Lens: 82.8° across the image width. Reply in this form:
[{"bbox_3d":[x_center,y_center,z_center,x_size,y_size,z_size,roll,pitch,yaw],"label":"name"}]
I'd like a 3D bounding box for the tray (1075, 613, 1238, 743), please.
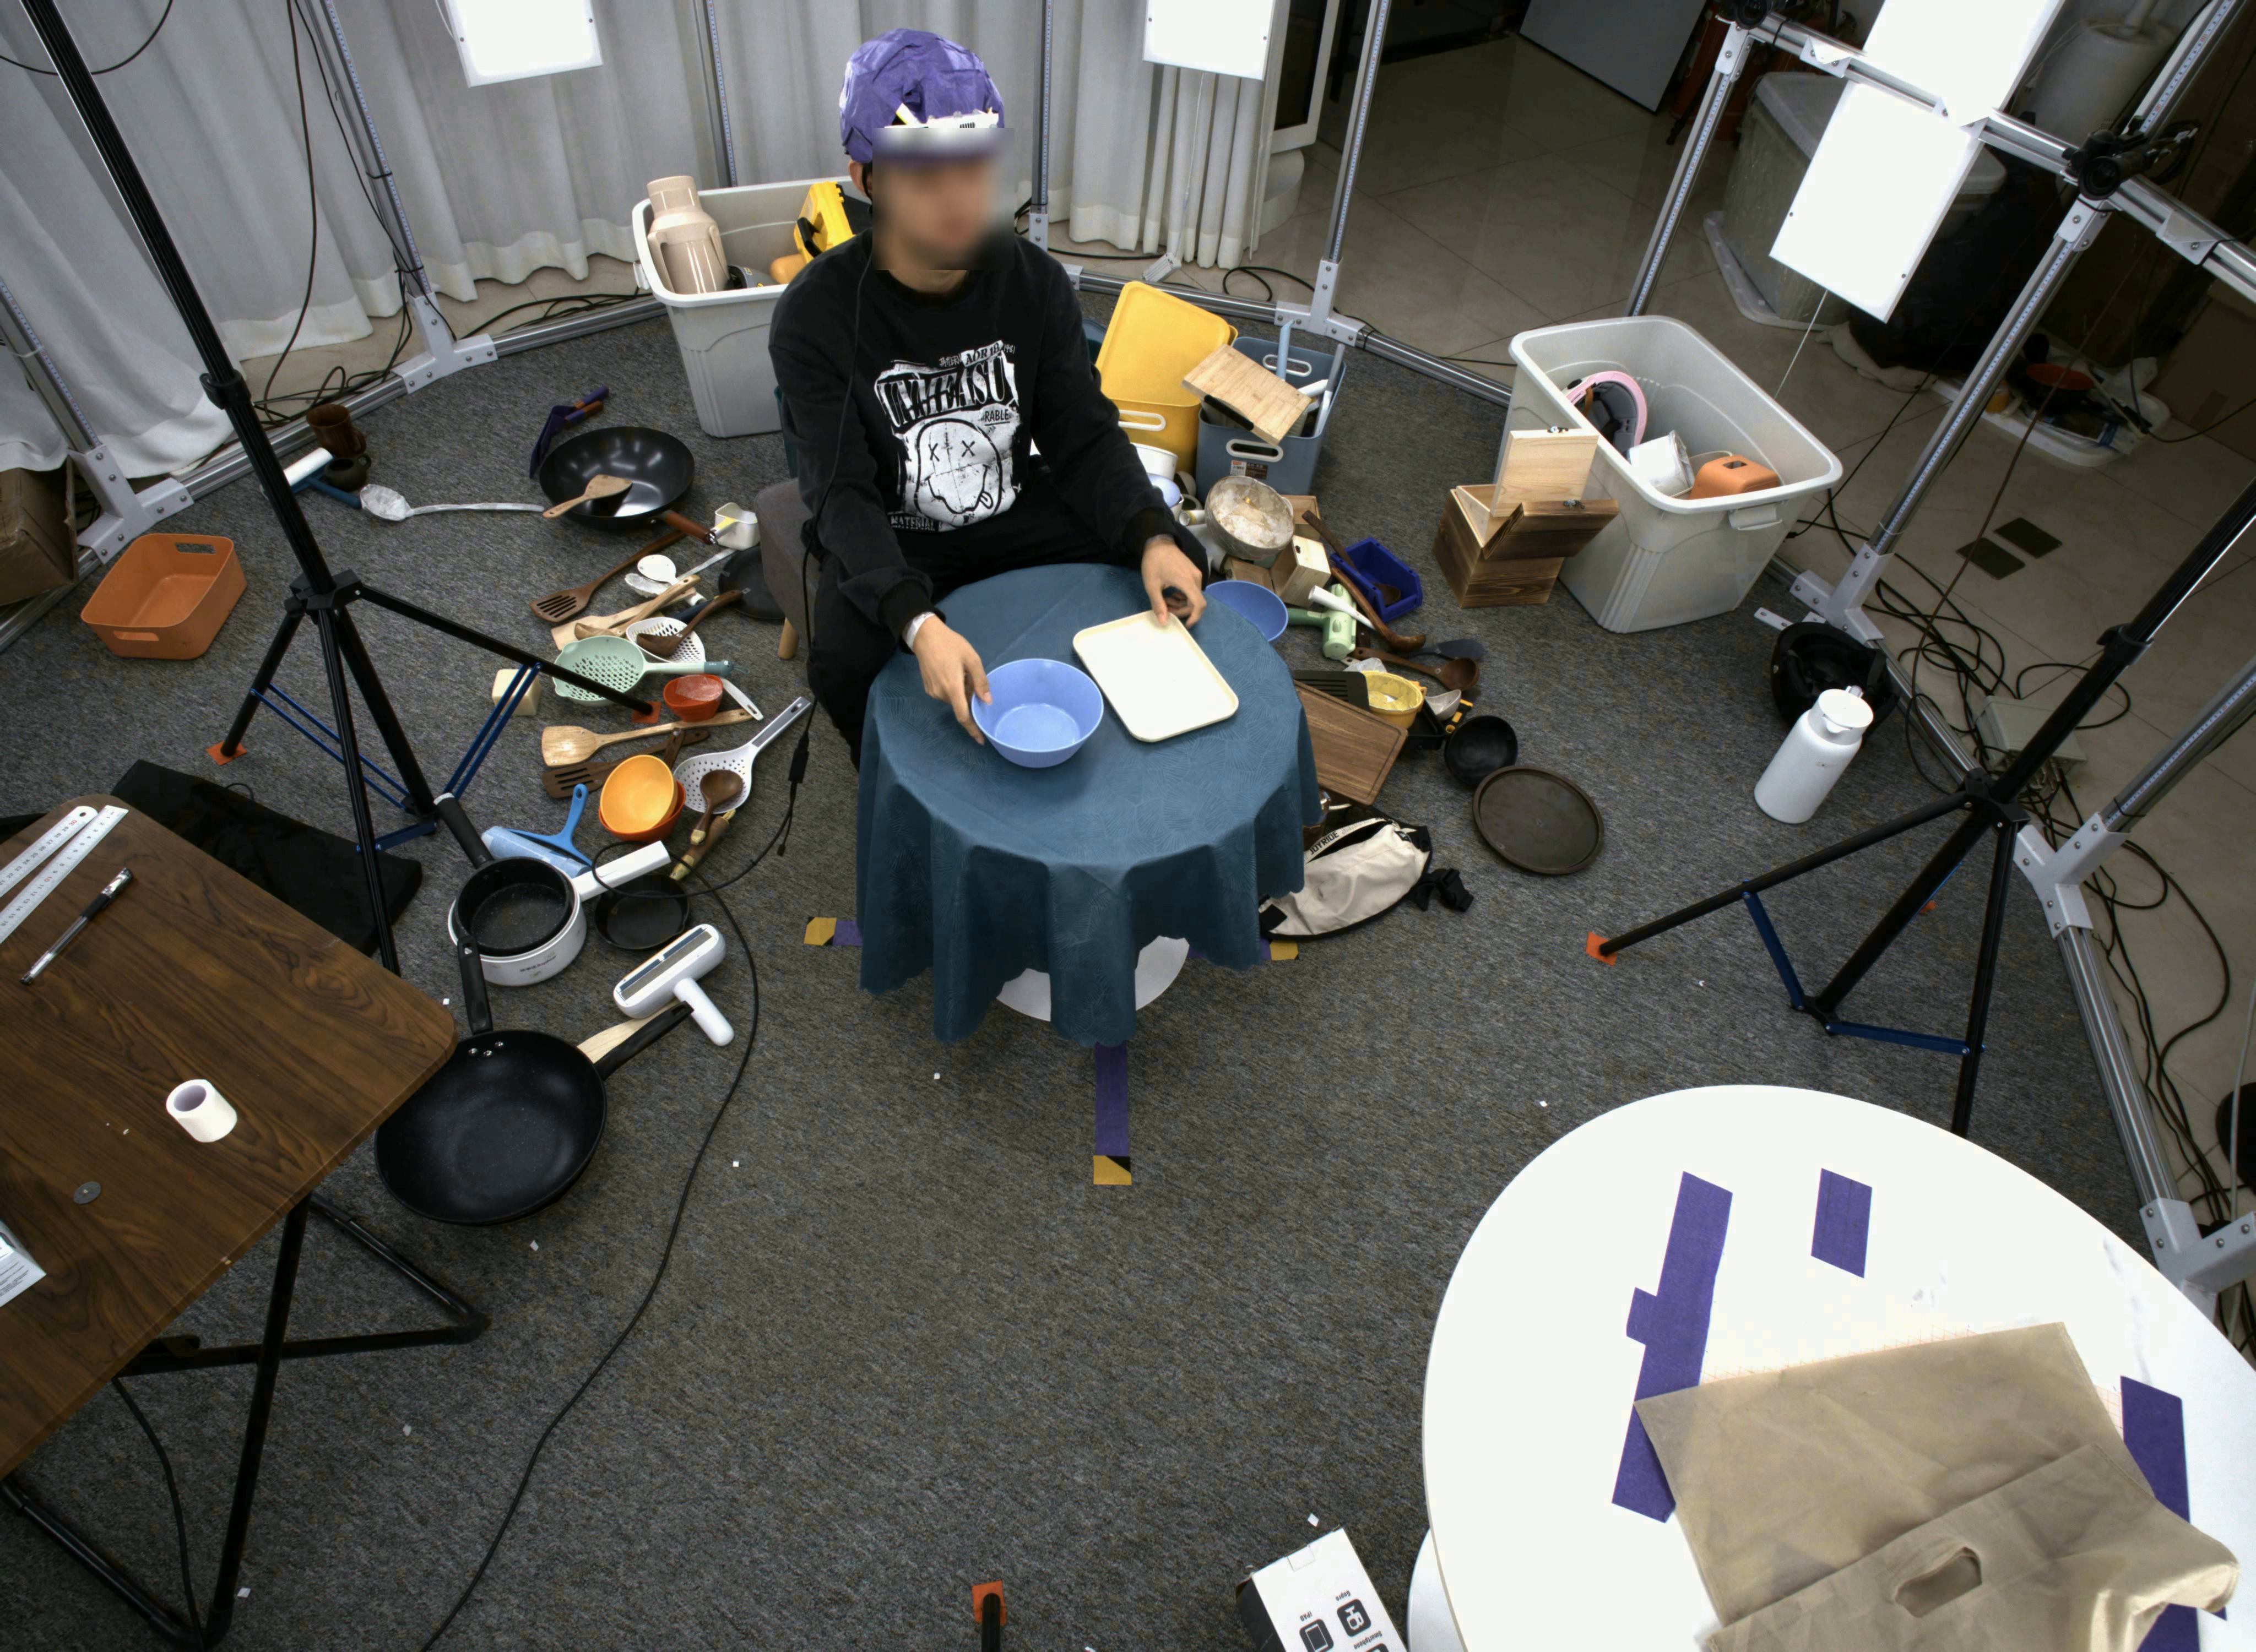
[{"bbox_3d":[0.039,-0.217,1.865,0.171,0.017,0.245,-18,52,-19],"label":"tray"}]

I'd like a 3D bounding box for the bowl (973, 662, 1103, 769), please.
[{"bbox_3d":[-0.123,-0.142,1.754,0.176,0.068,0.180,2,48,-3],"label":"bowl"}]
